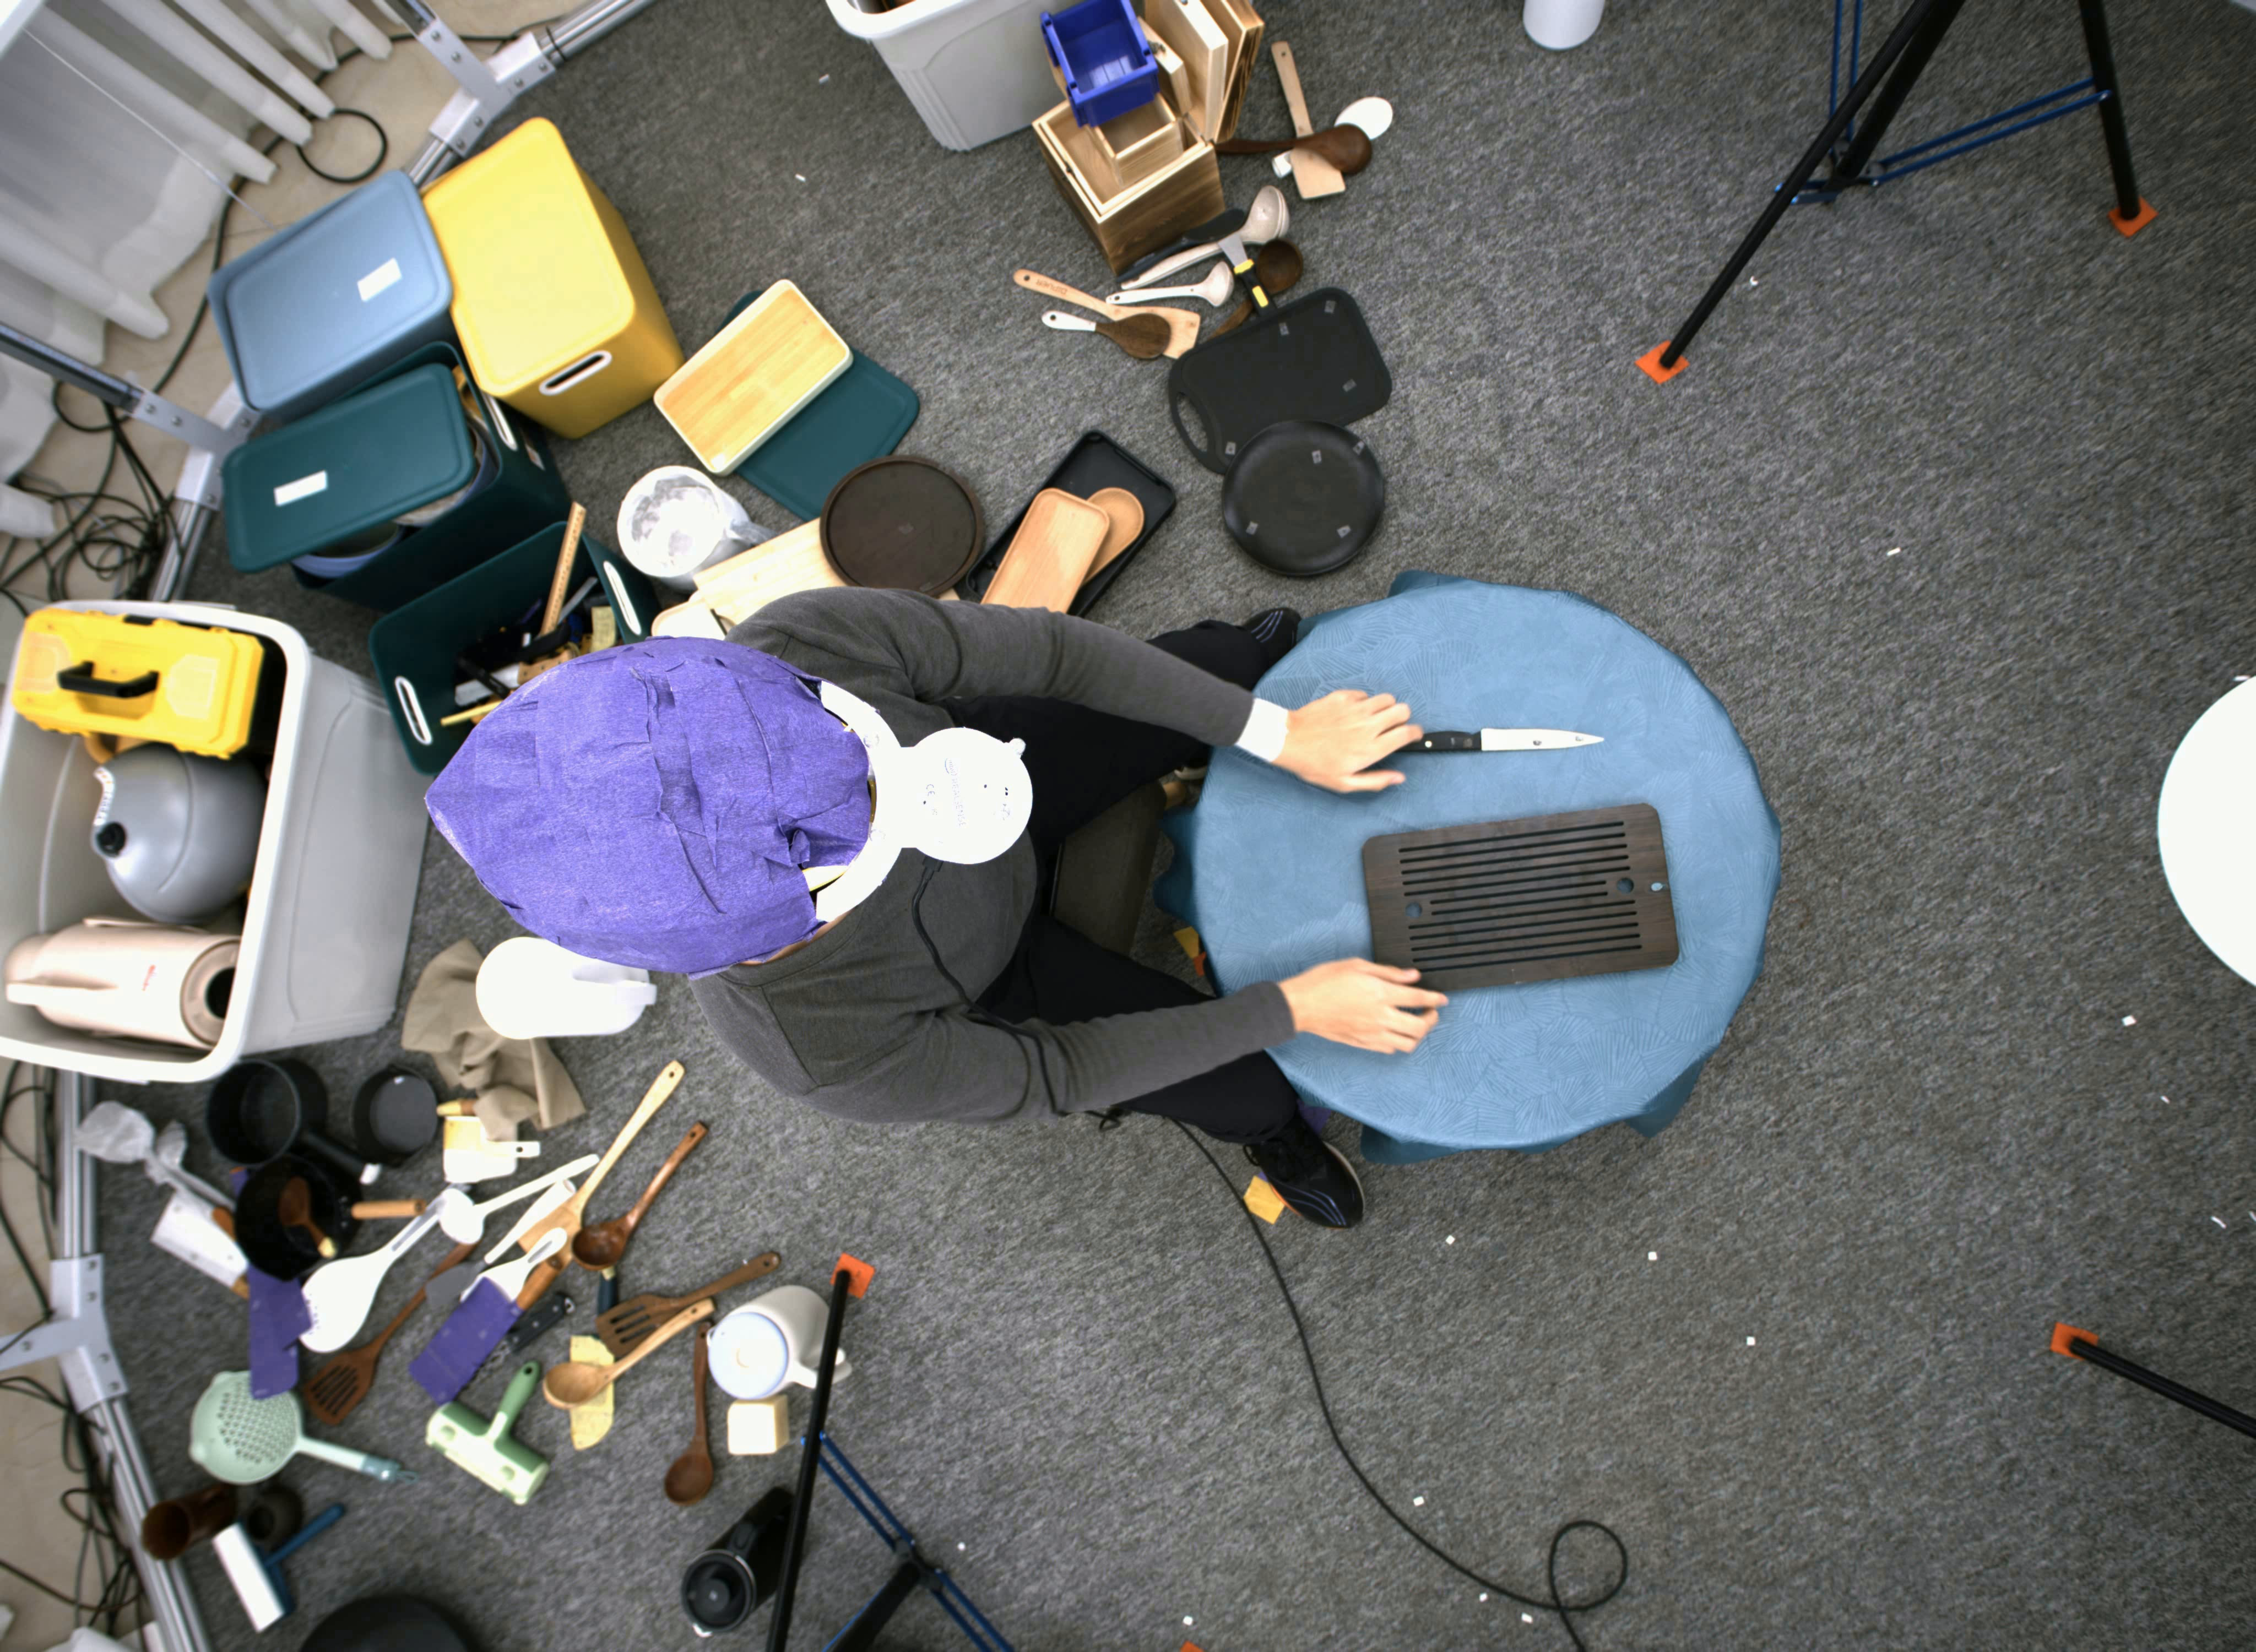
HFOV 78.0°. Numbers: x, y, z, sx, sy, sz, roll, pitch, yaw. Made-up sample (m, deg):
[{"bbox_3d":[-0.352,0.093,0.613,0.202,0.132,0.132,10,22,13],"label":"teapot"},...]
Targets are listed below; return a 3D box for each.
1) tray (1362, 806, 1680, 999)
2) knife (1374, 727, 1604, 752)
[{"bbox_3d":[0.404,0.078,1.425,0.307,0.018,0.169,-7,85,10],"label":"tray"},{"bbox_3d":[0.380,-0.092,1.443,0.239,0.016,0.024,-2,87,8],"label":"knife"}]
